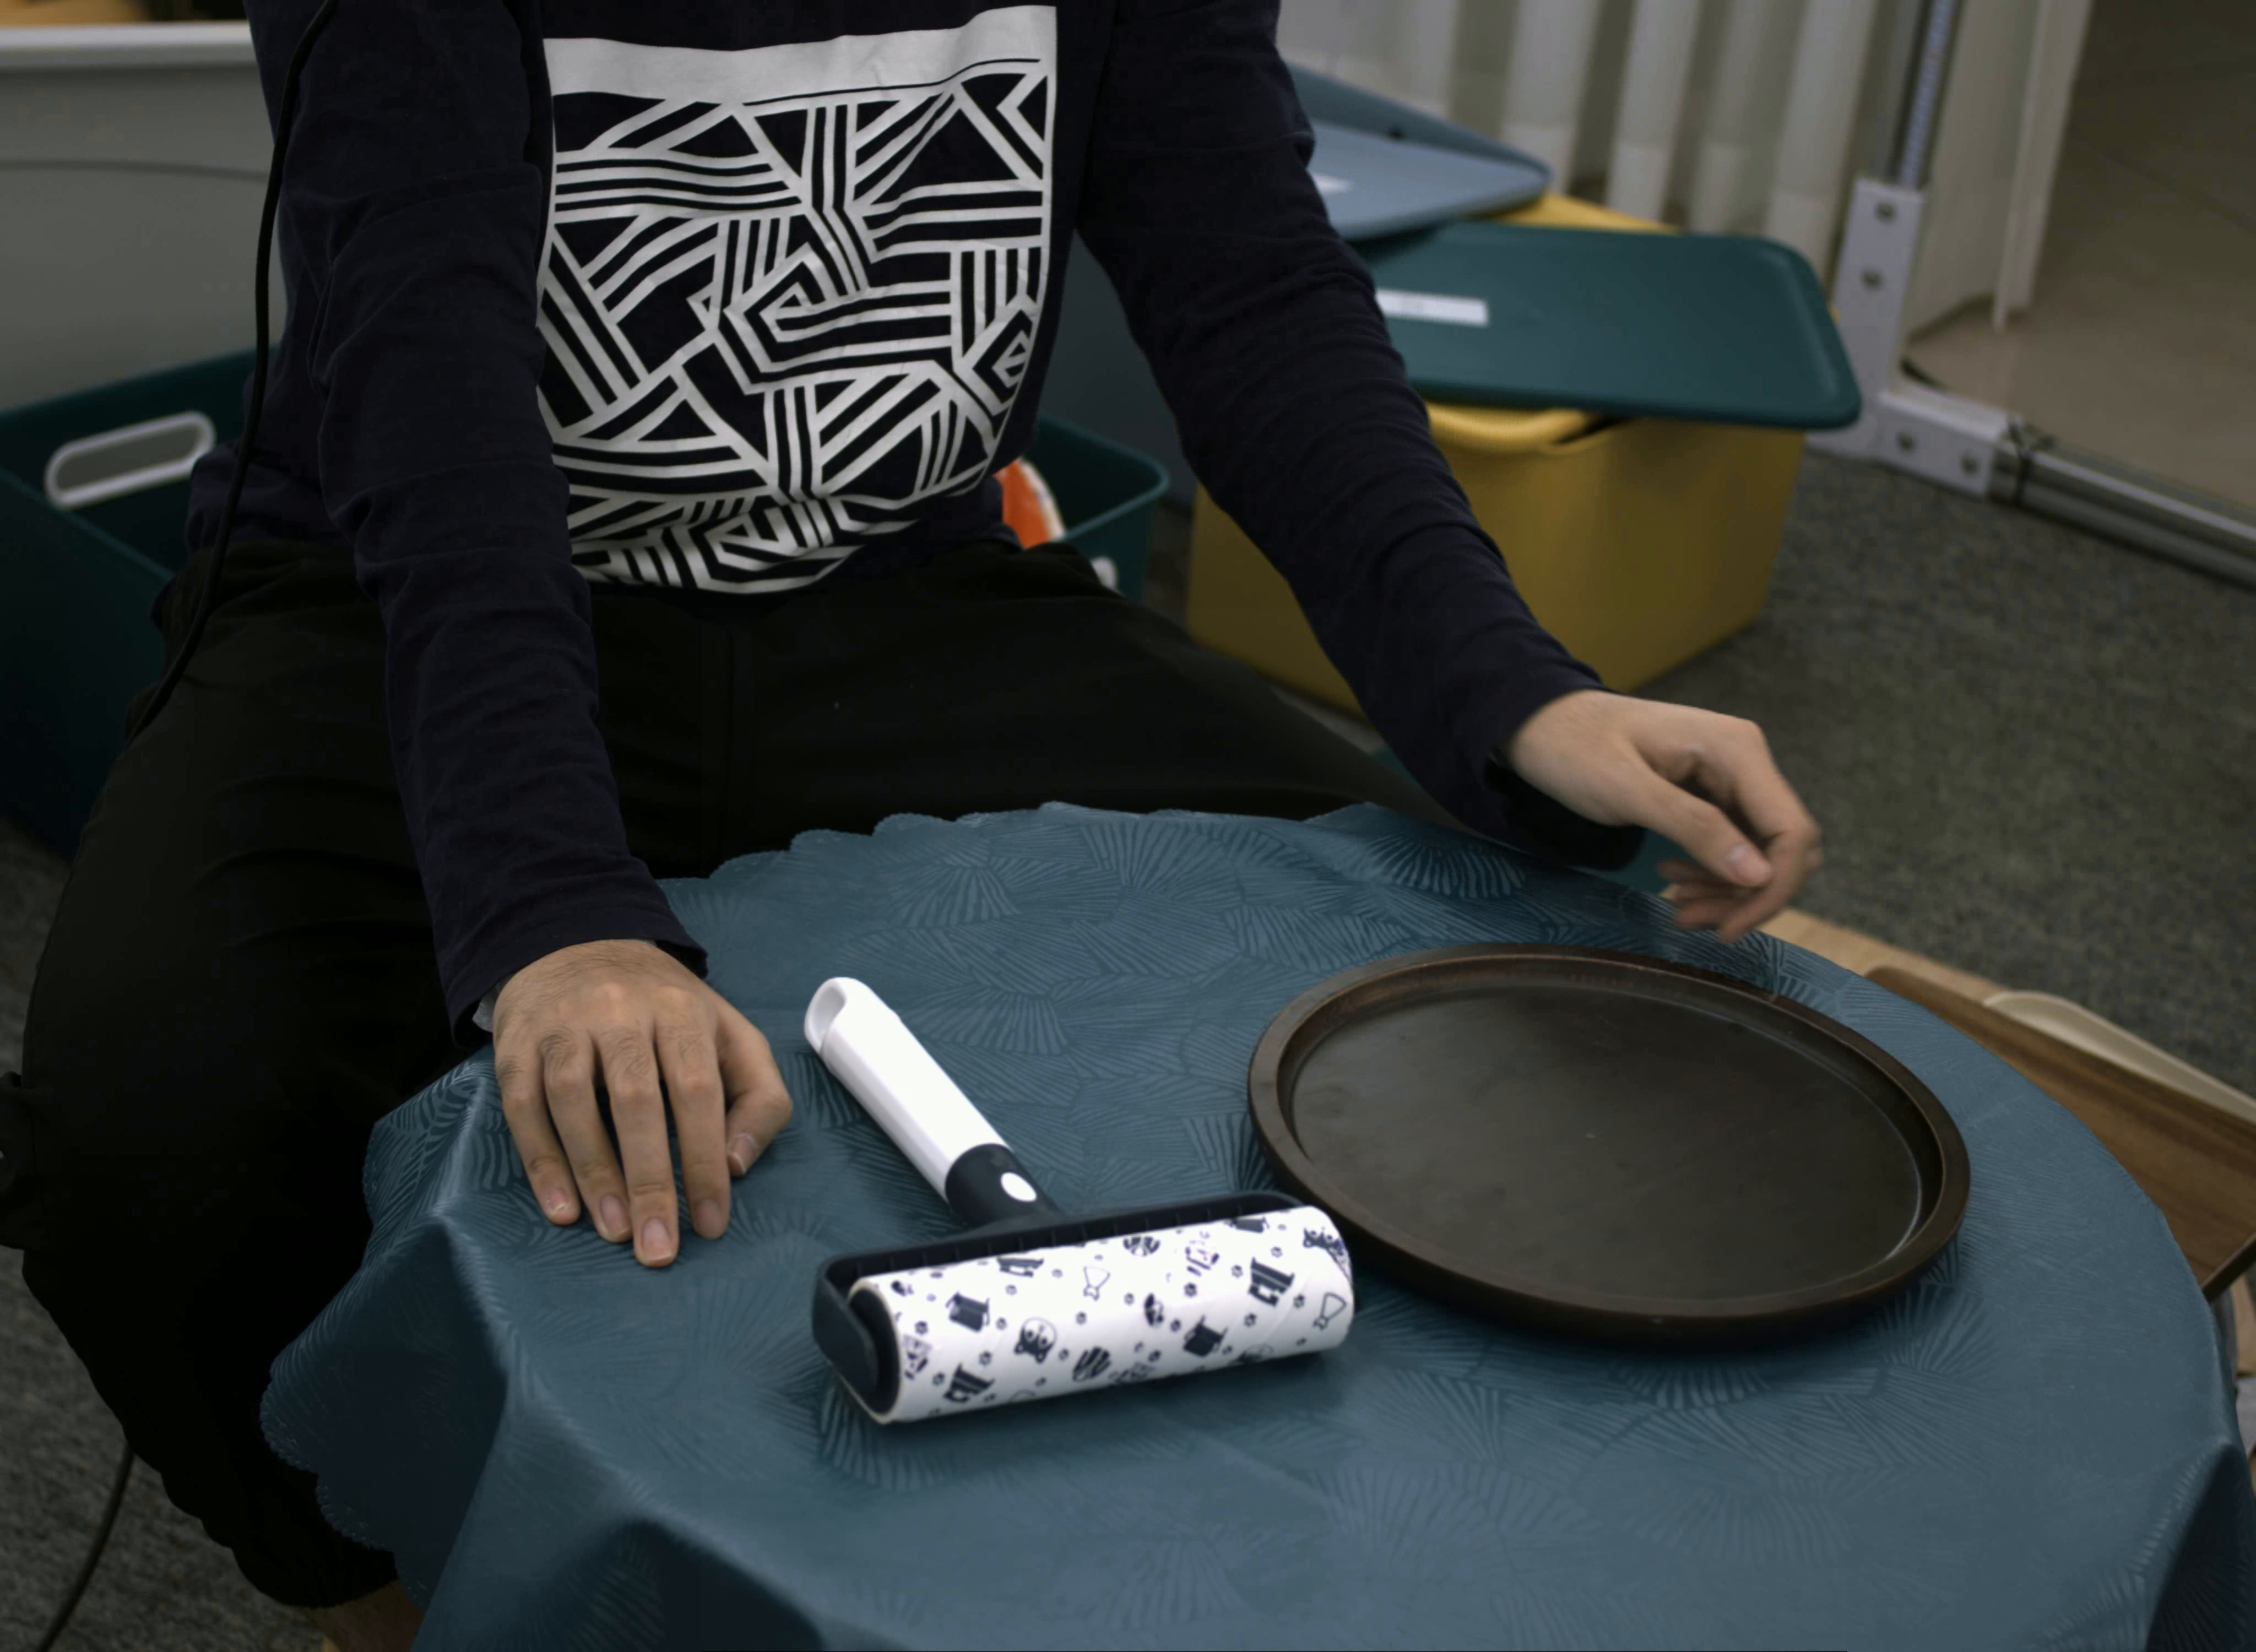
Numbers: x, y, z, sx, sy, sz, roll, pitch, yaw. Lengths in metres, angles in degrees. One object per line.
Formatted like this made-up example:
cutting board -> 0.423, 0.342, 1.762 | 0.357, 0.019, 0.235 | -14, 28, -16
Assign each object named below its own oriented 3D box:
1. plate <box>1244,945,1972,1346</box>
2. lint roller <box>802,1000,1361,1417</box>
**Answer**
plate -> 0.165, 0.109, 1.847 | 0.254, 0.029, 0.256 | 5, 25, -3
lint roller -> -0.054, 0.112, 1.772 | 0.175, 0.050, 0.249 | -8, 28, -25
